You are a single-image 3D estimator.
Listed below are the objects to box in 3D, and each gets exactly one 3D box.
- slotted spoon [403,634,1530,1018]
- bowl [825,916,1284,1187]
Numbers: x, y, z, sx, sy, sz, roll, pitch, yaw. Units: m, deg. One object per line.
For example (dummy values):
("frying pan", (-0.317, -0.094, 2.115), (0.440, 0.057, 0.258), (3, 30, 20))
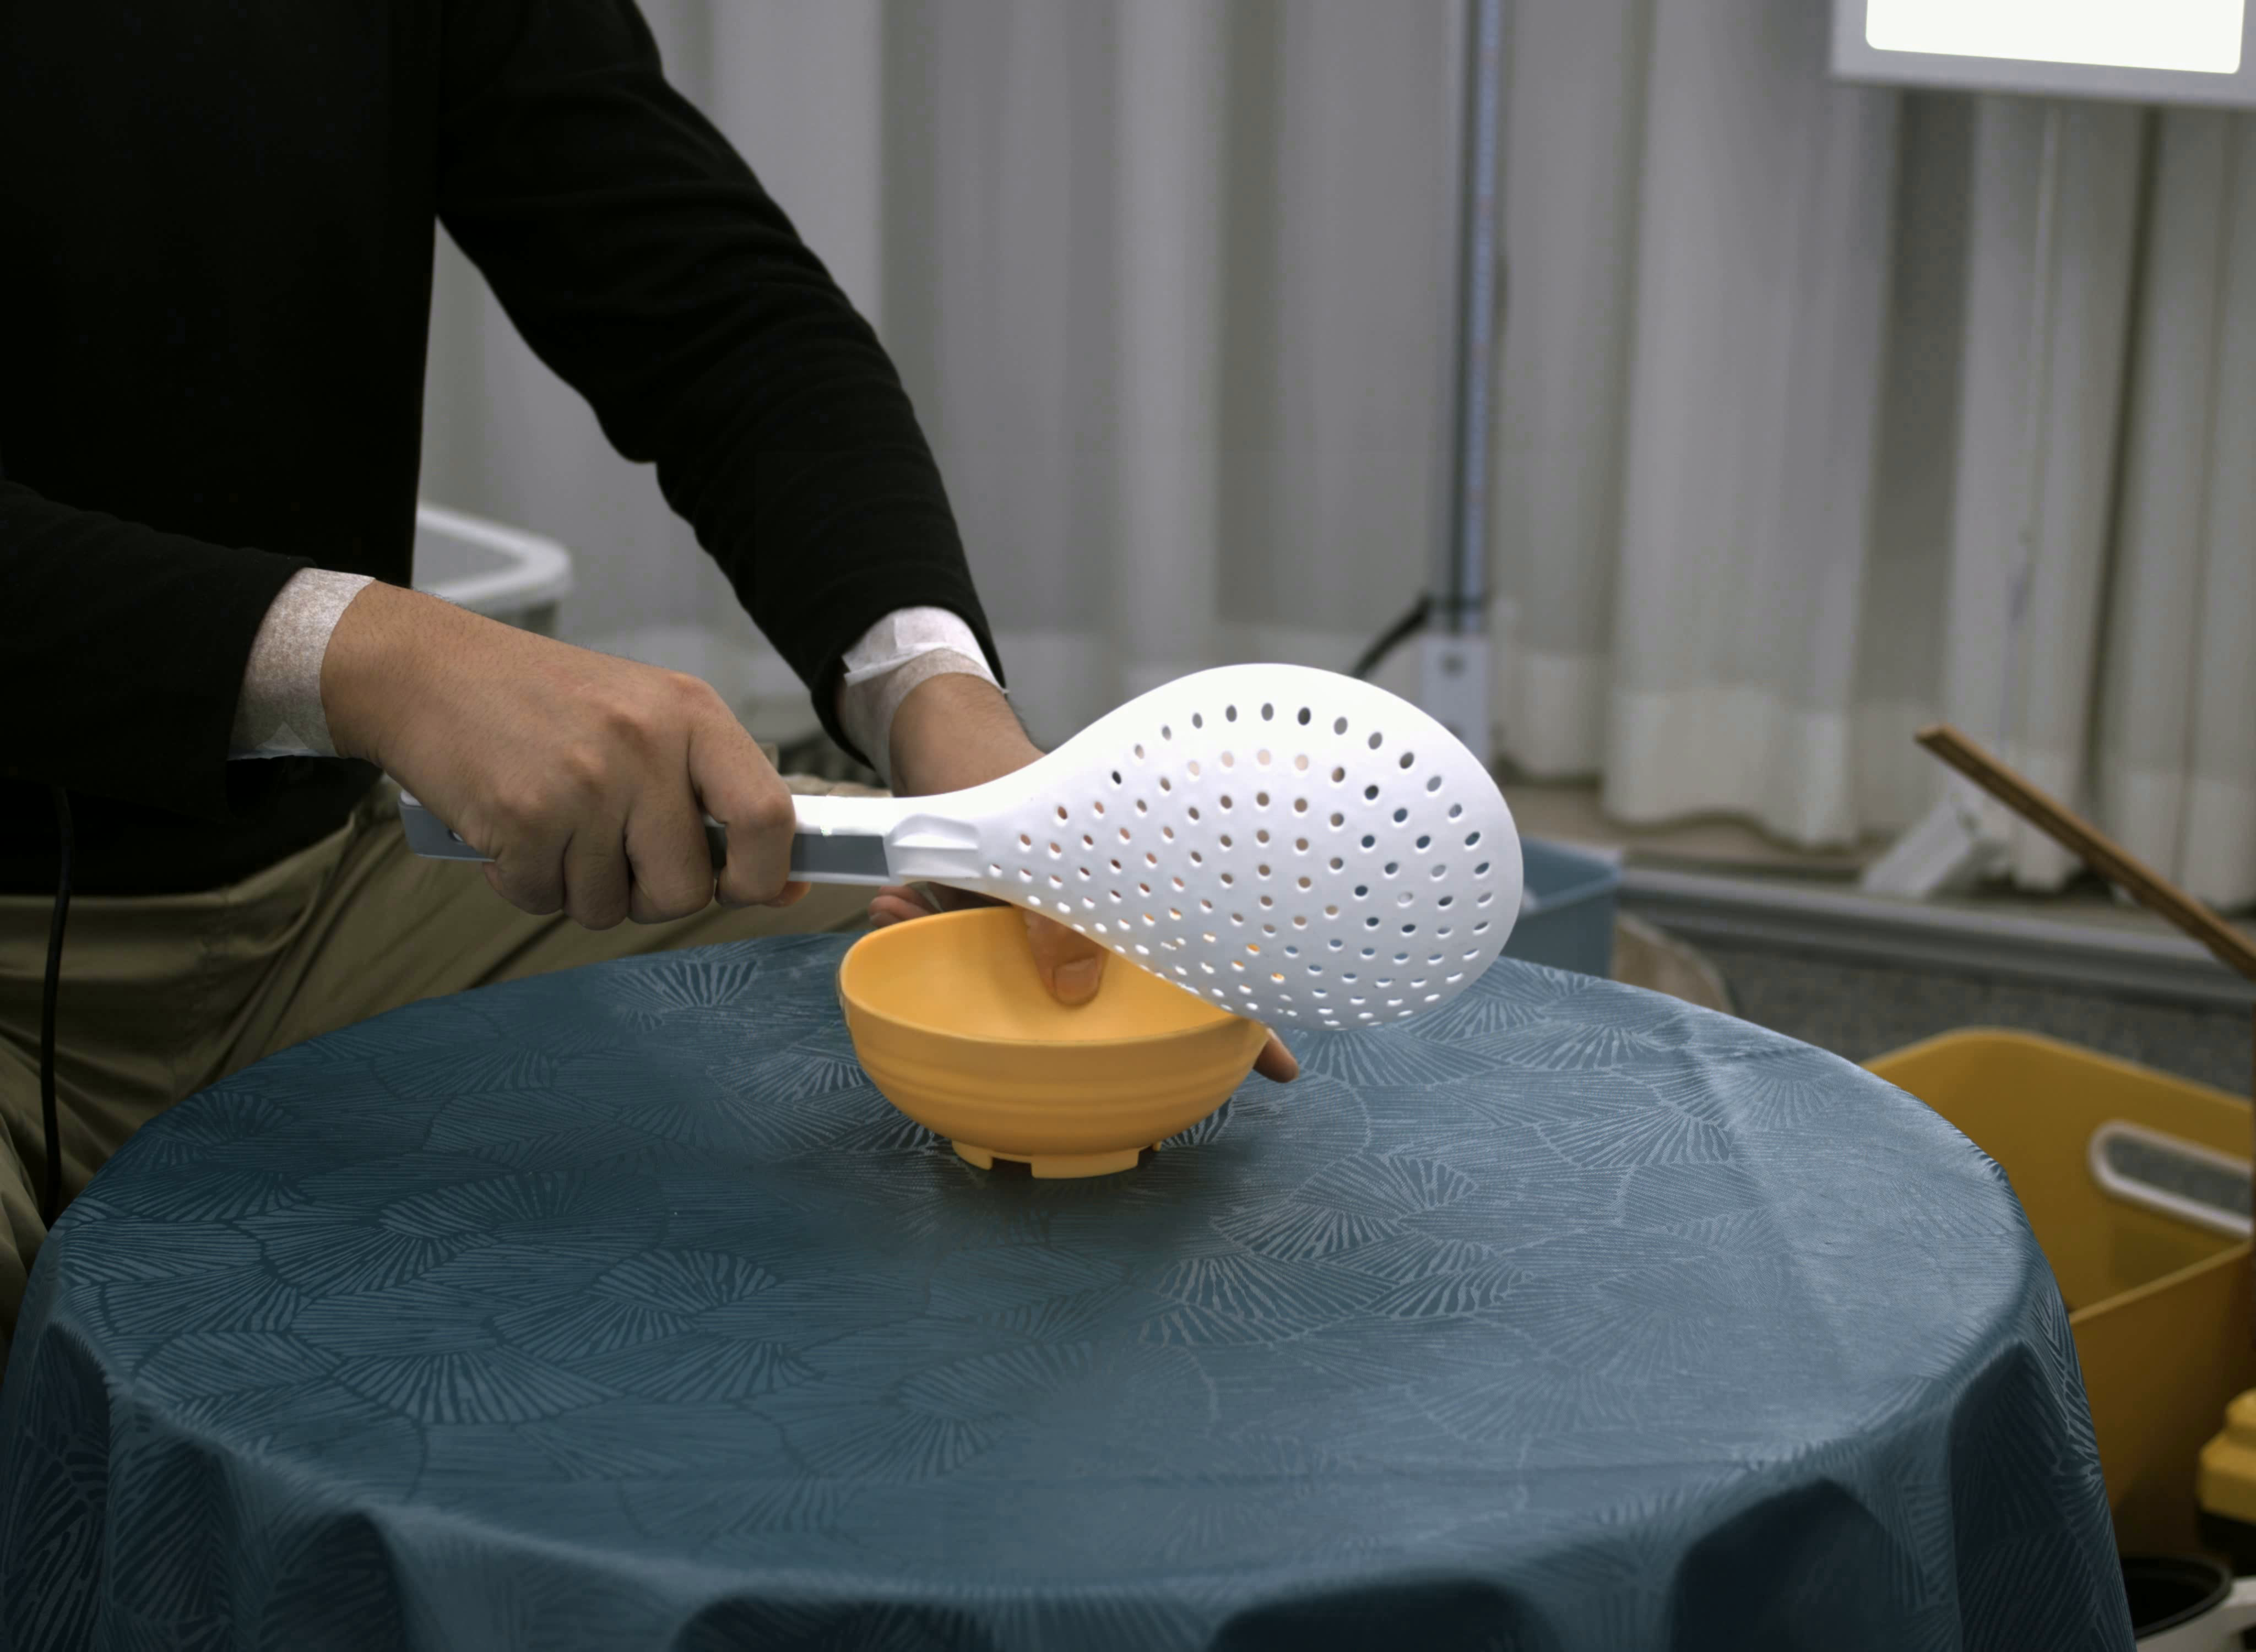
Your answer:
("slotted spoon", (-0.054, 0.002, 1.583), (0.346, 0.138, 0.045), (5, 36, 17))
("bowl", (-0.024, 0.075, 1.655), (0.145, 0.060, 0.144), (3, 14, 0))
